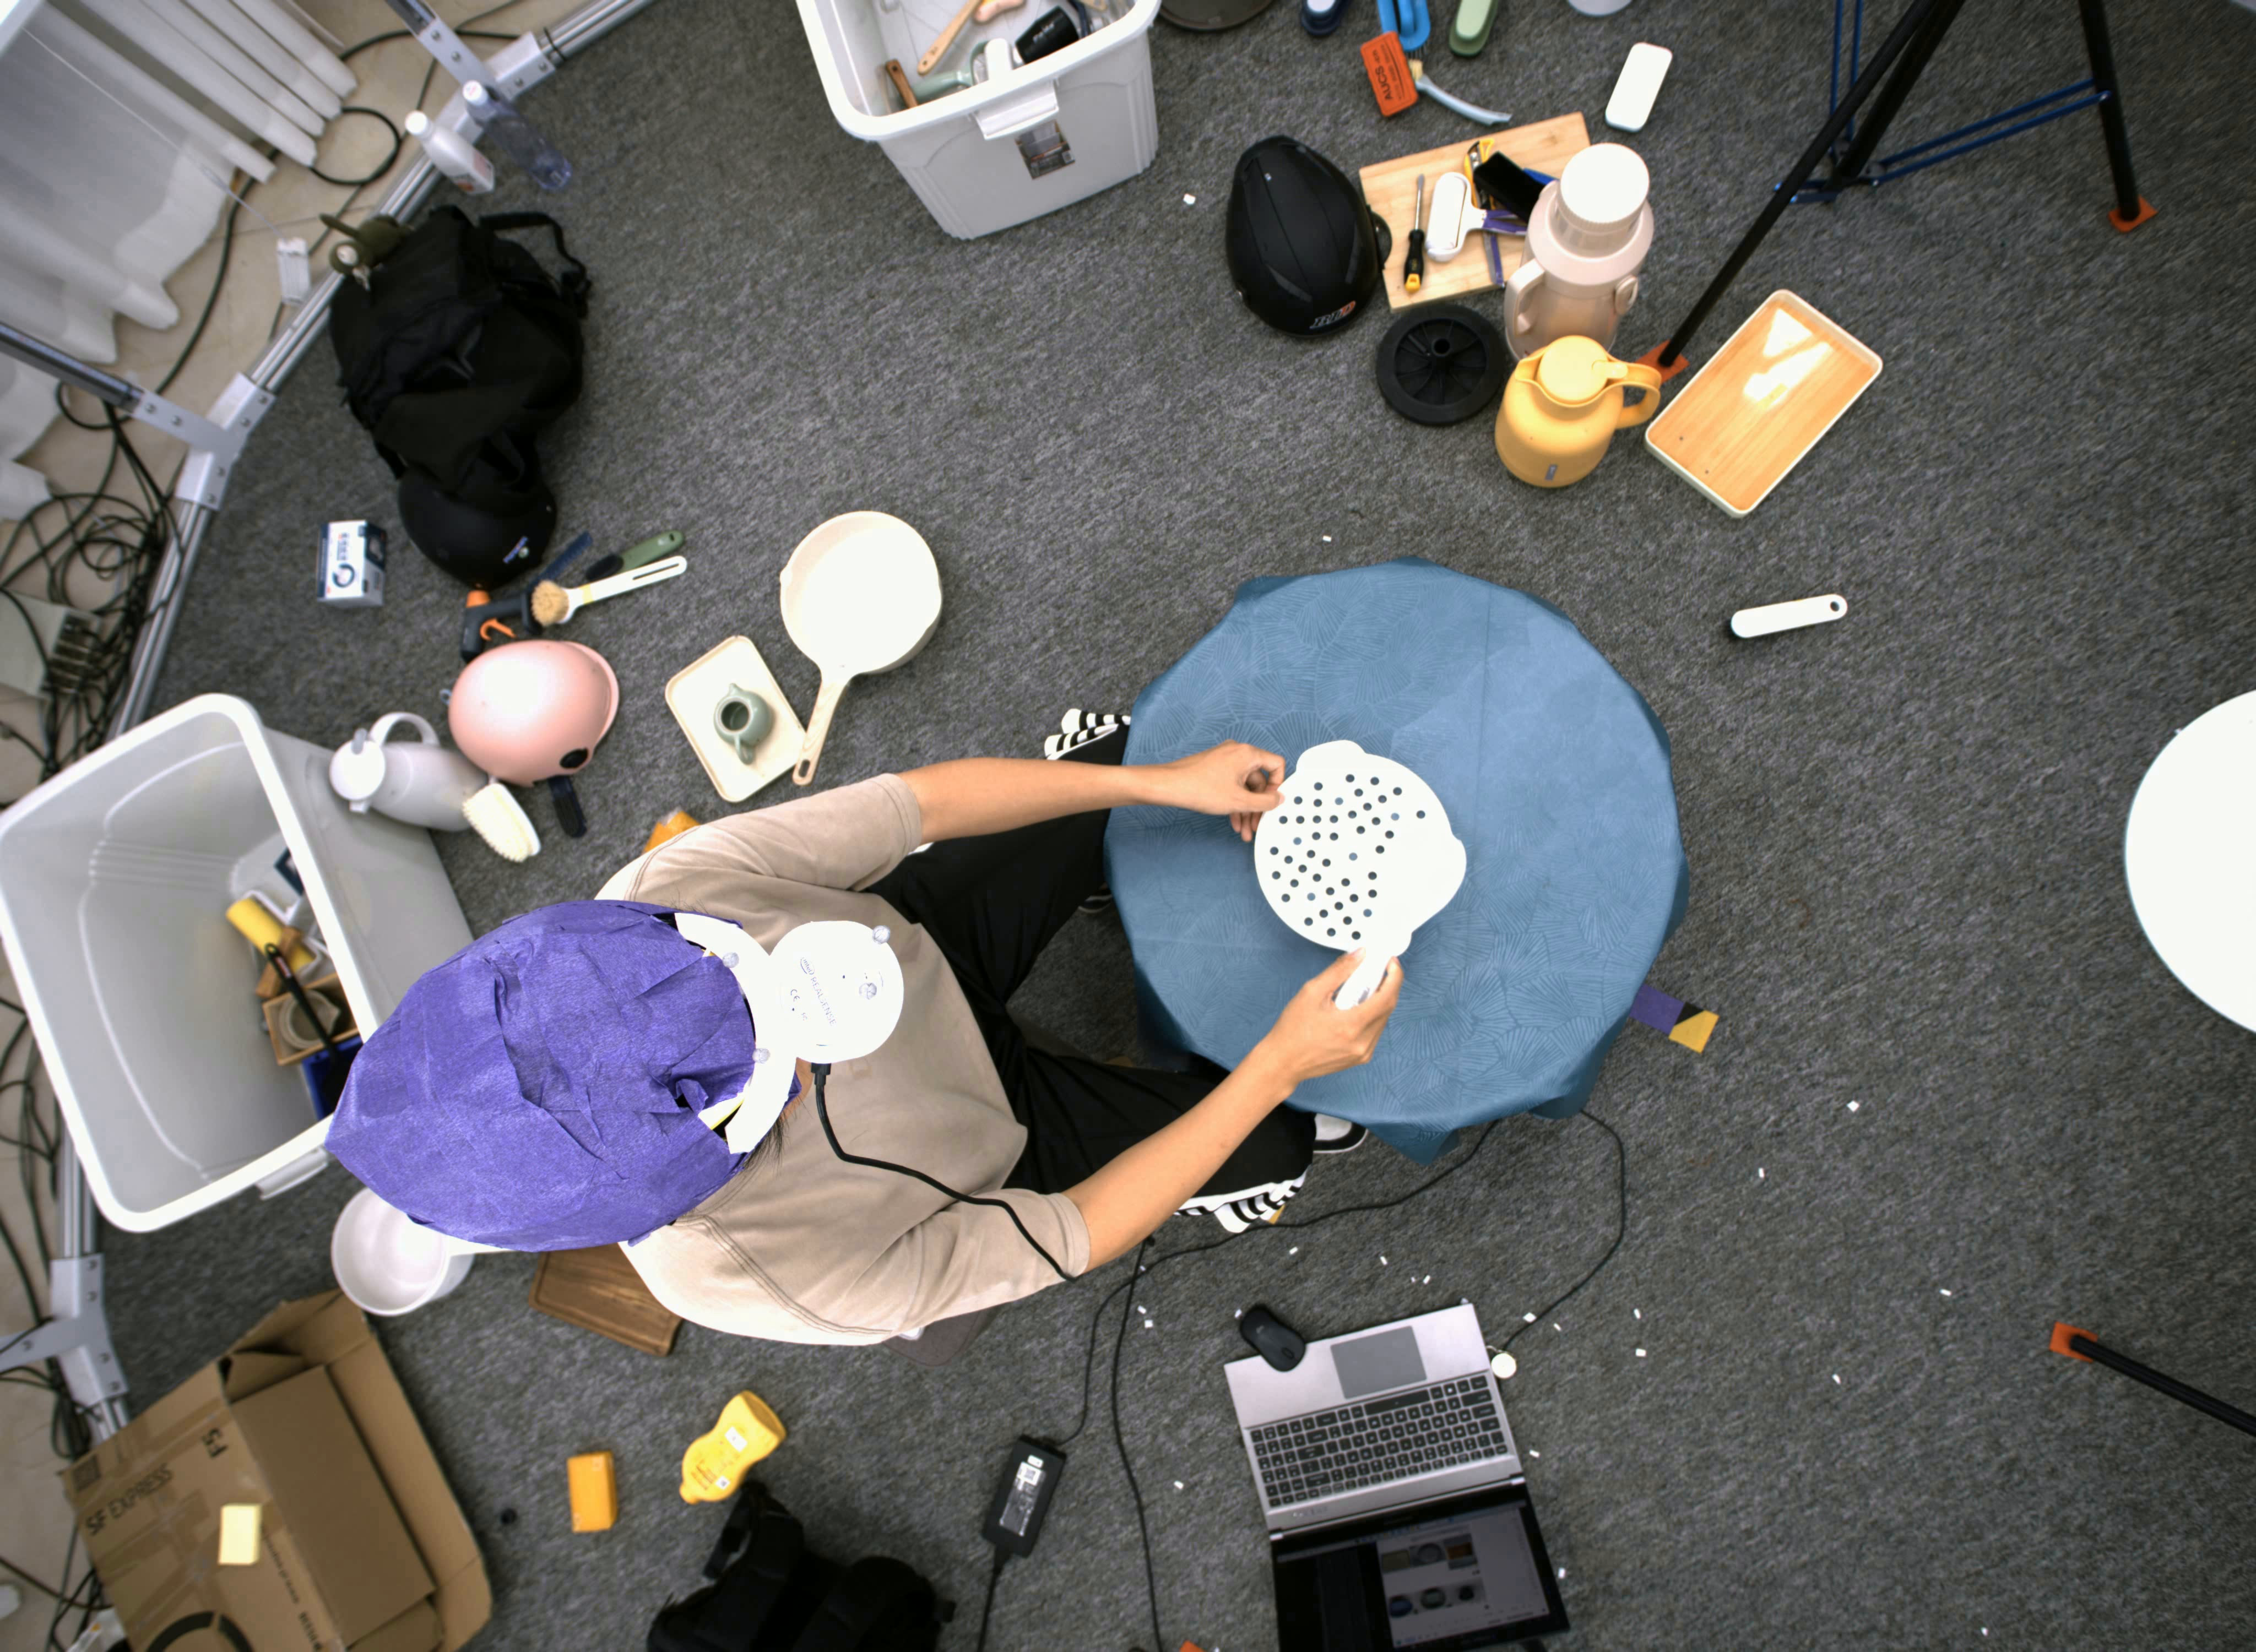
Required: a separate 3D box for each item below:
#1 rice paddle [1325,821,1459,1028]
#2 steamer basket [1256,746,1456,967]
[{"bbox_3d":[0.240,0.088,1.269,0.069,0.029,0.207,26,100,2],"label":"rice paddle"},{"bbox_3d":[0.236,0.034,1.436,0.203,0.069,0.229,-14,82,8],"label":"steamer basket"}]
